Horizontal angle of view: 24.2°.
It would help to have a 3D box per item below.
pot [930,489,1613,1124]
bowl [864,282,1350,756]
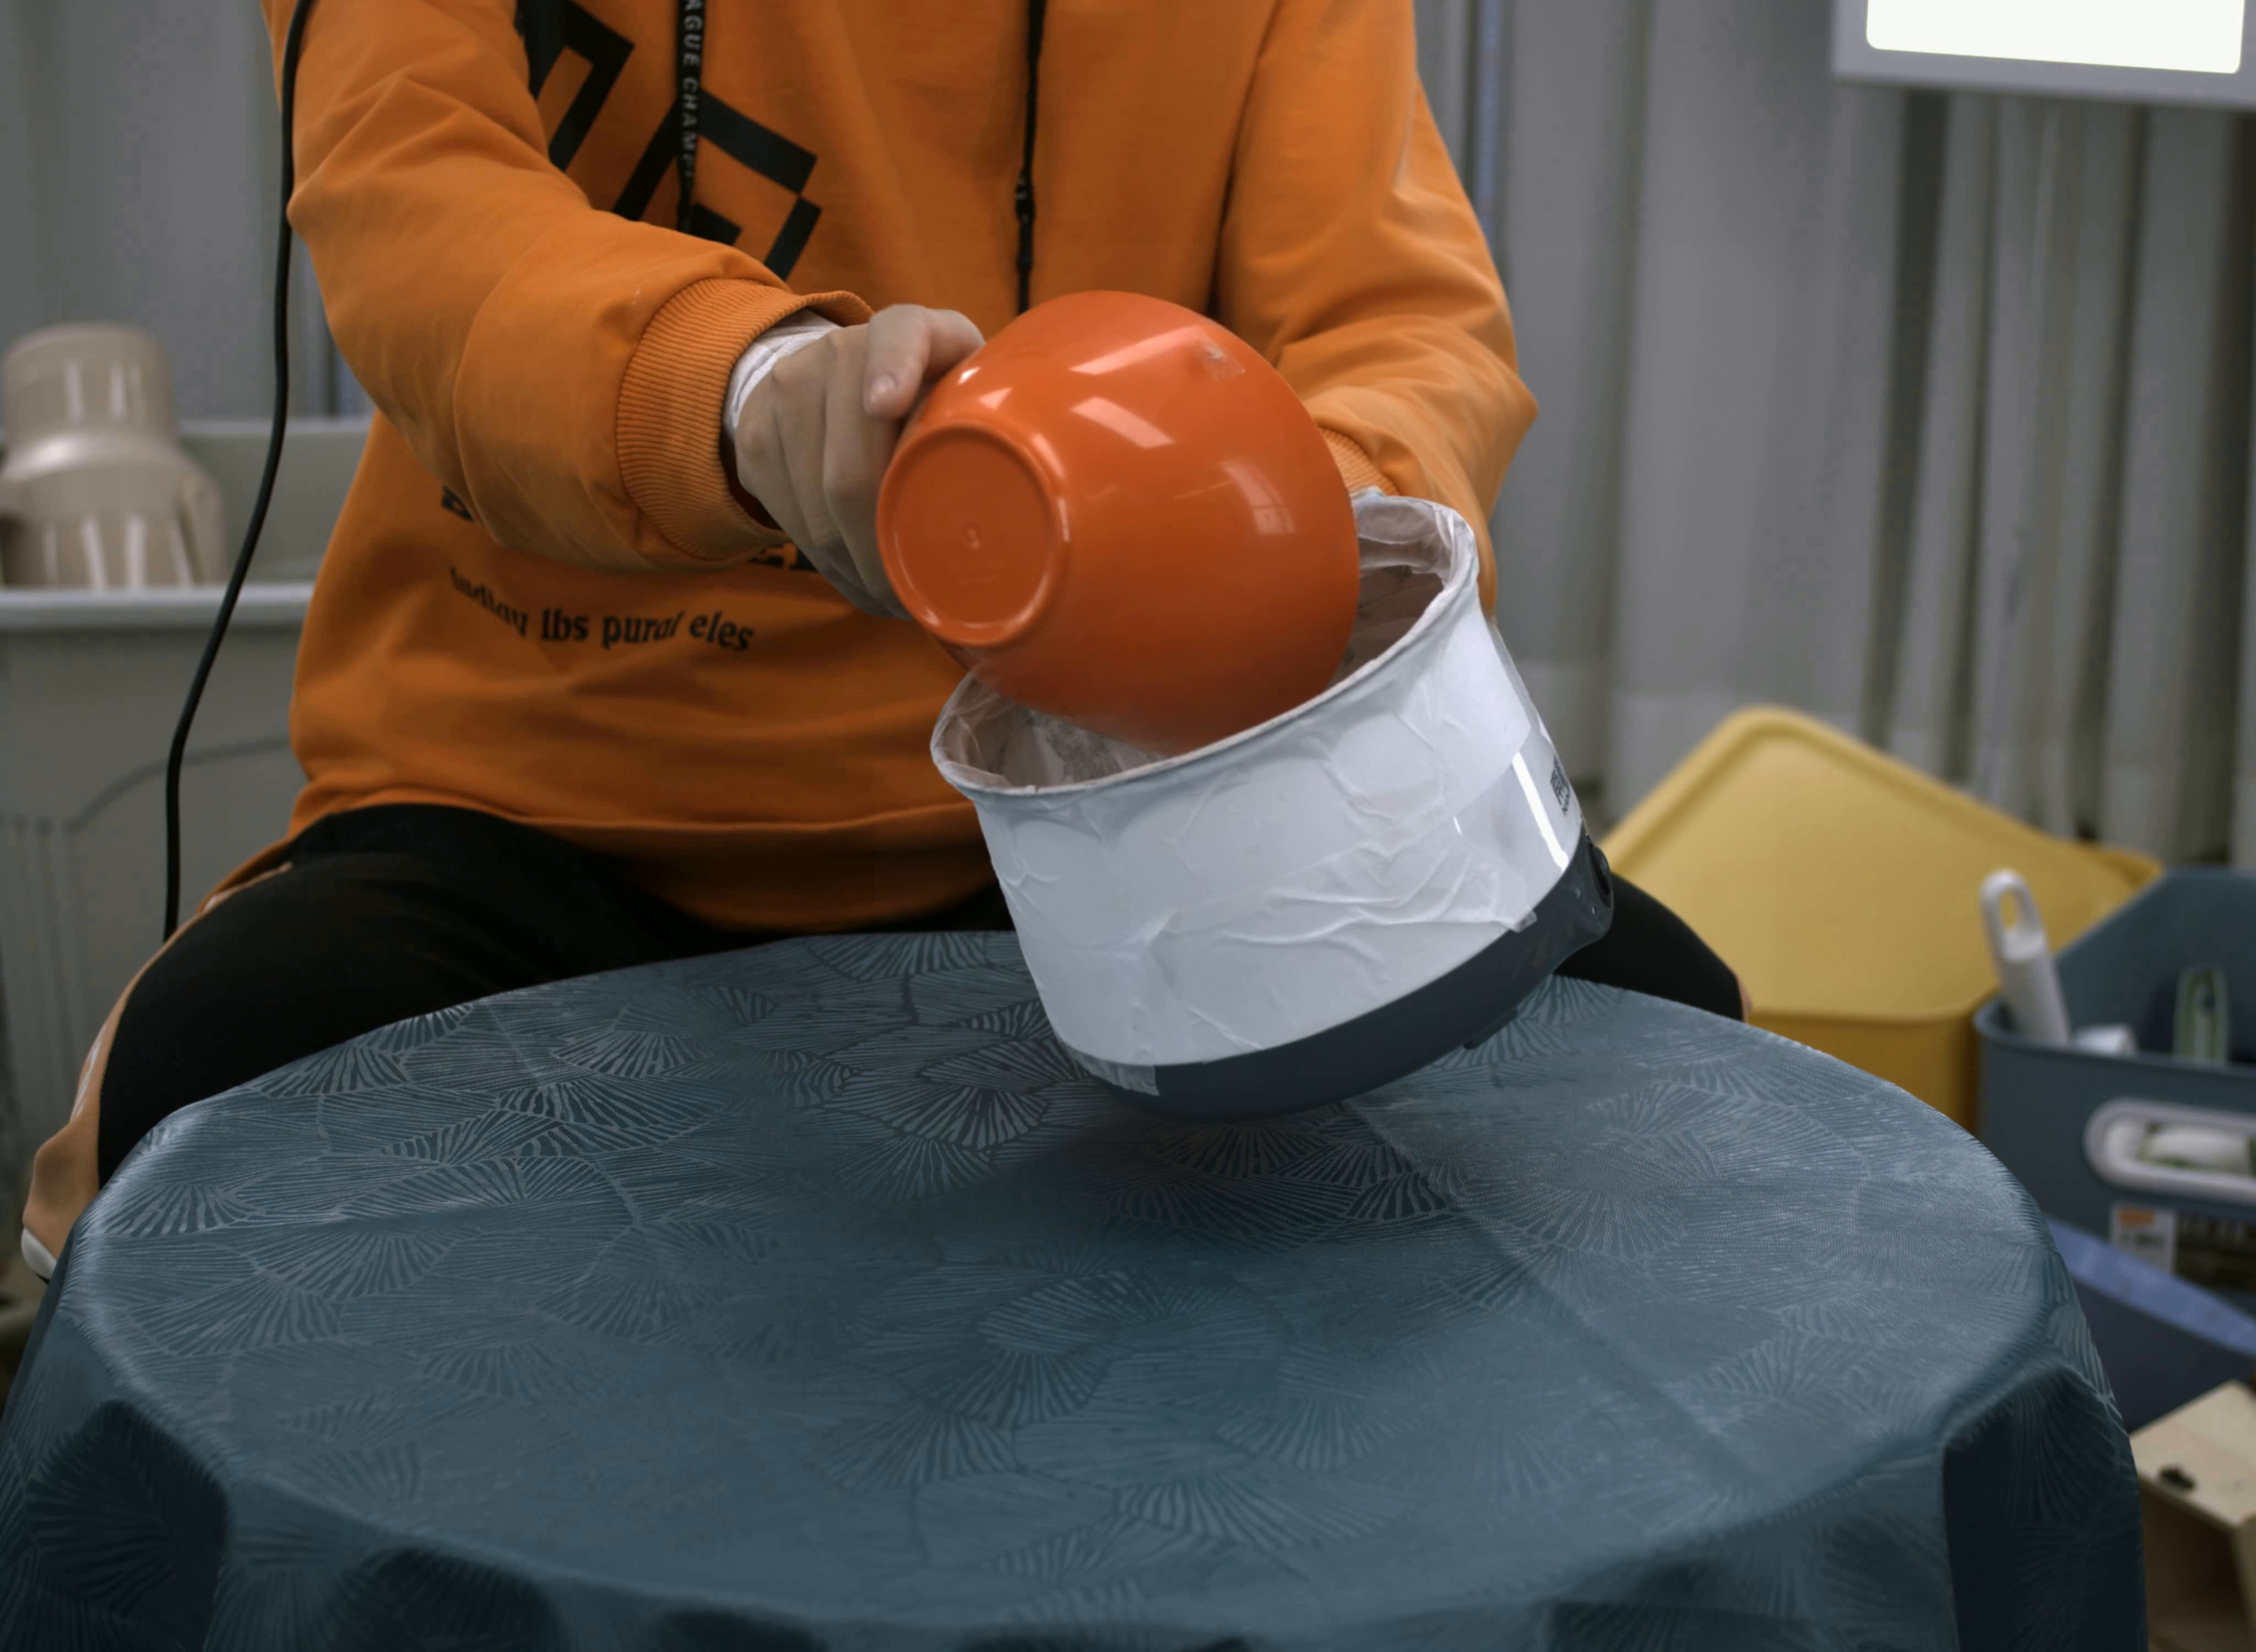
[{"bbox_3d":[0.047,-0.016,1.632,0.178,0.138,0.232,-18,23,12],"label":"pot"},{"bbox_3d":[-0.019,-0.084,1.555,0.146,0.149,0.105,11,17,32],"label":"bowl"}]
